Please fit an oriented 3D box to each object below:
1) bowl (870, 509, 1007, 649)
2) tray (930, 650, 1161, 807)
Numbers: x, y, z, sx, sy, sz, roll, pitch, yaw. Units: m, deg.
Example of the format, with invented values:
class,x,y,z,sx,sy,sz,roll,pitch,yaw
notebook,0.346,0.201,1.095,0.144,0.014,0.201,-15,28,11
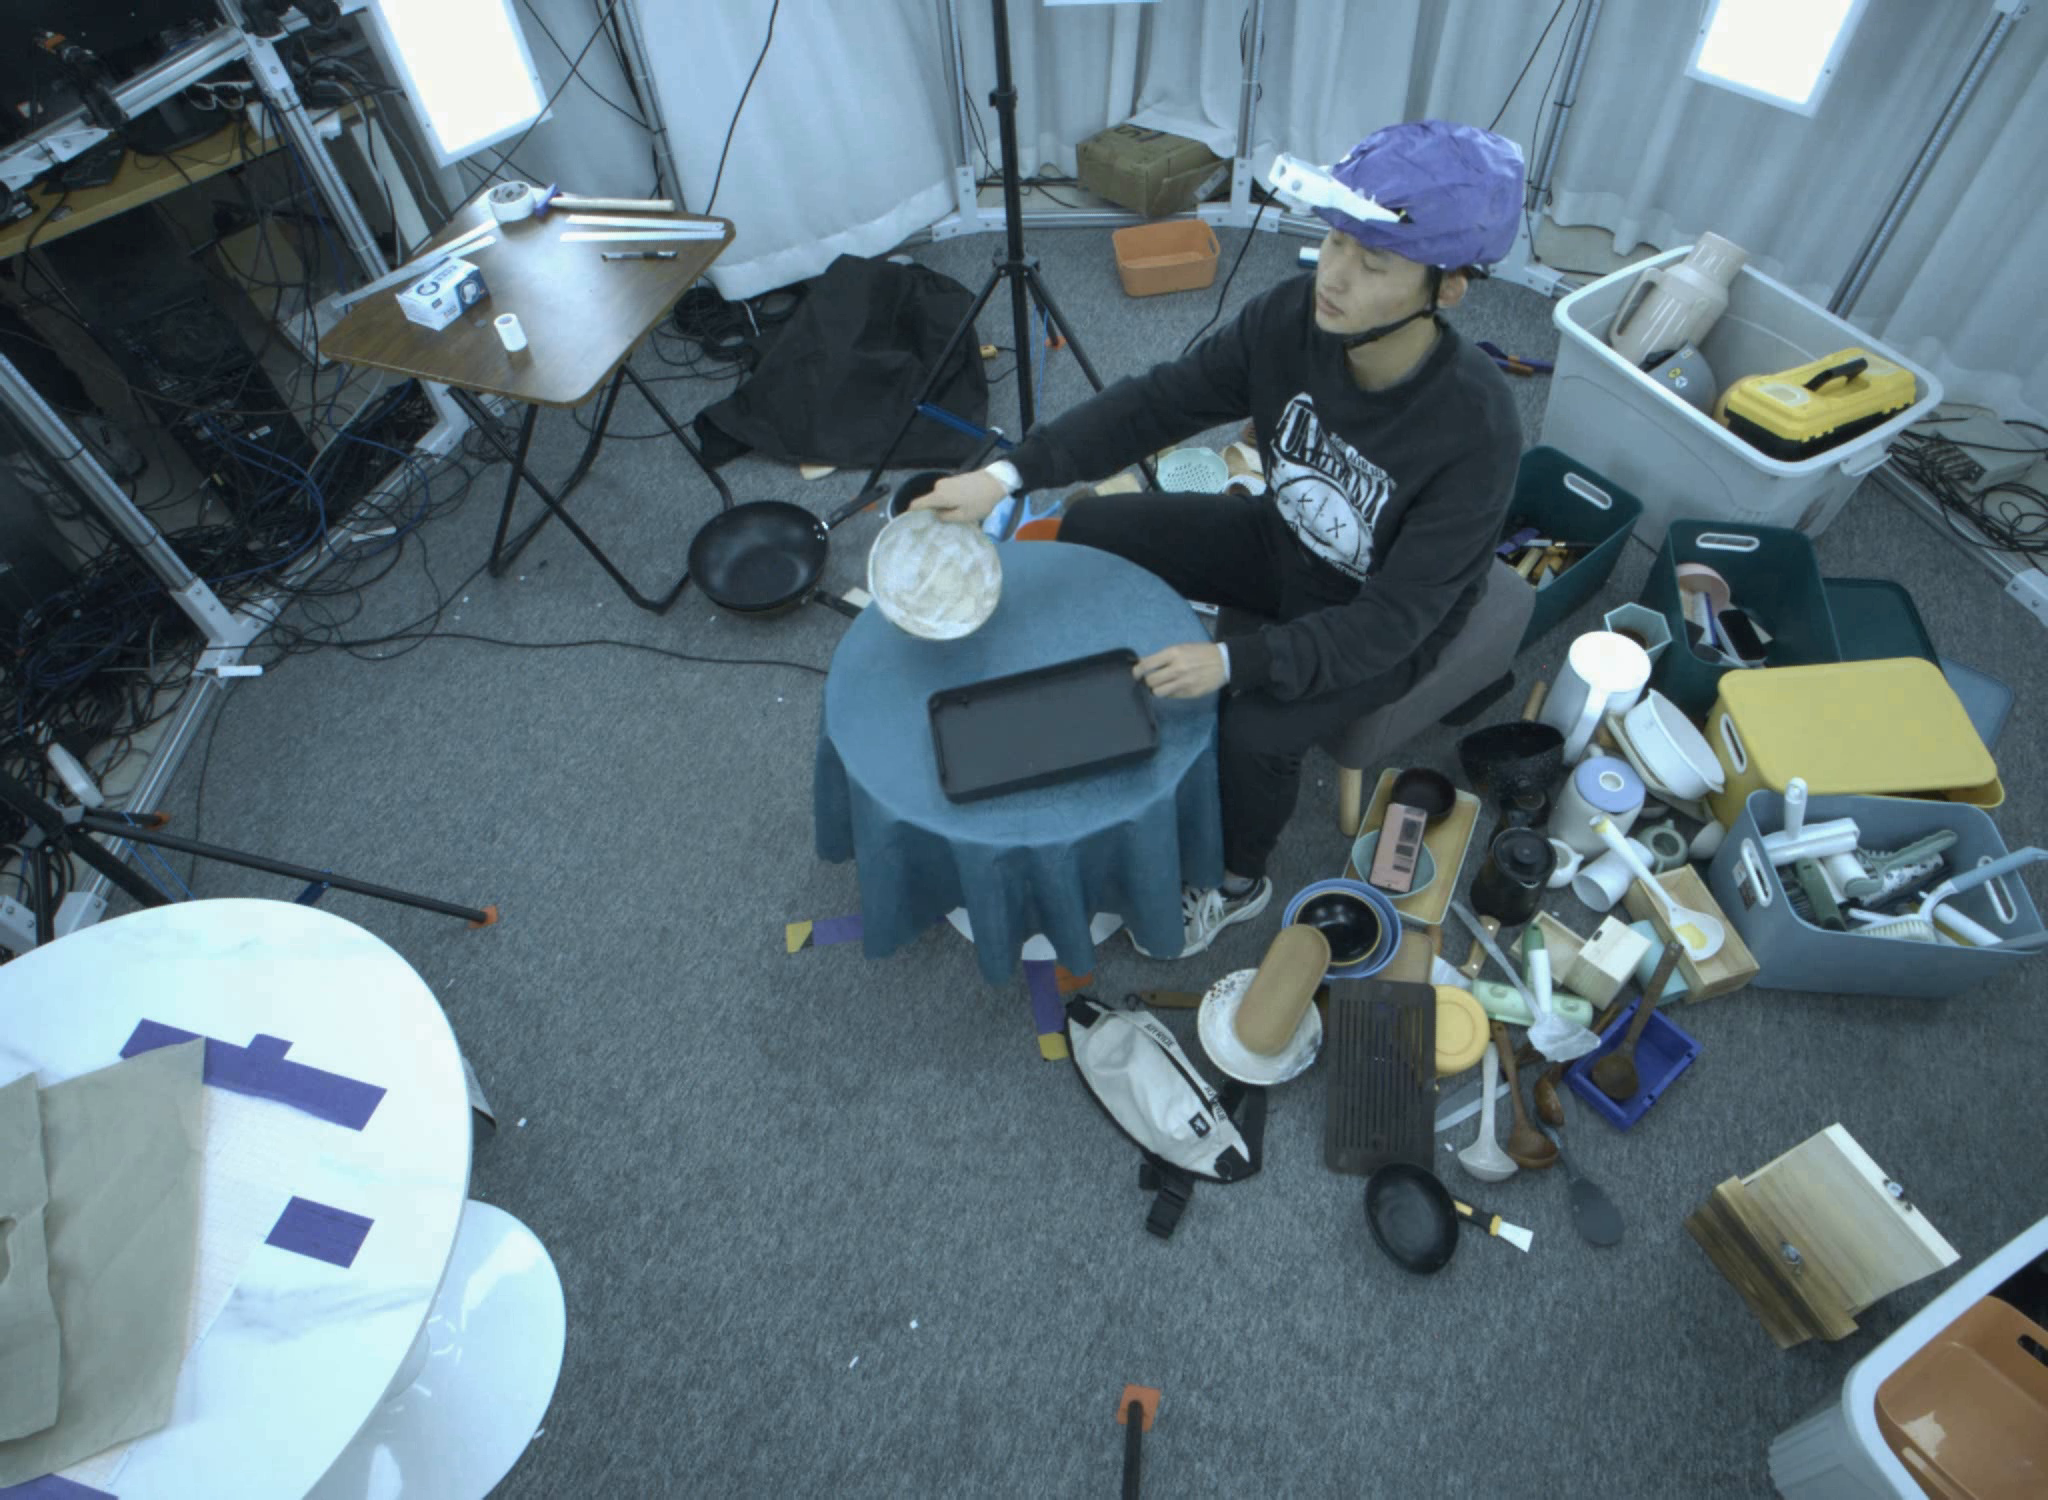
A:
class,x,y,z,sx,sy,sz,roll,pitch,yaw
bowl,-0.138,-0.249,1.843,0.218,0.093,0.214,1,87,-22
tray,0.029,-0.032,1.776,0.317,0.037,0.182,-12,59,3
